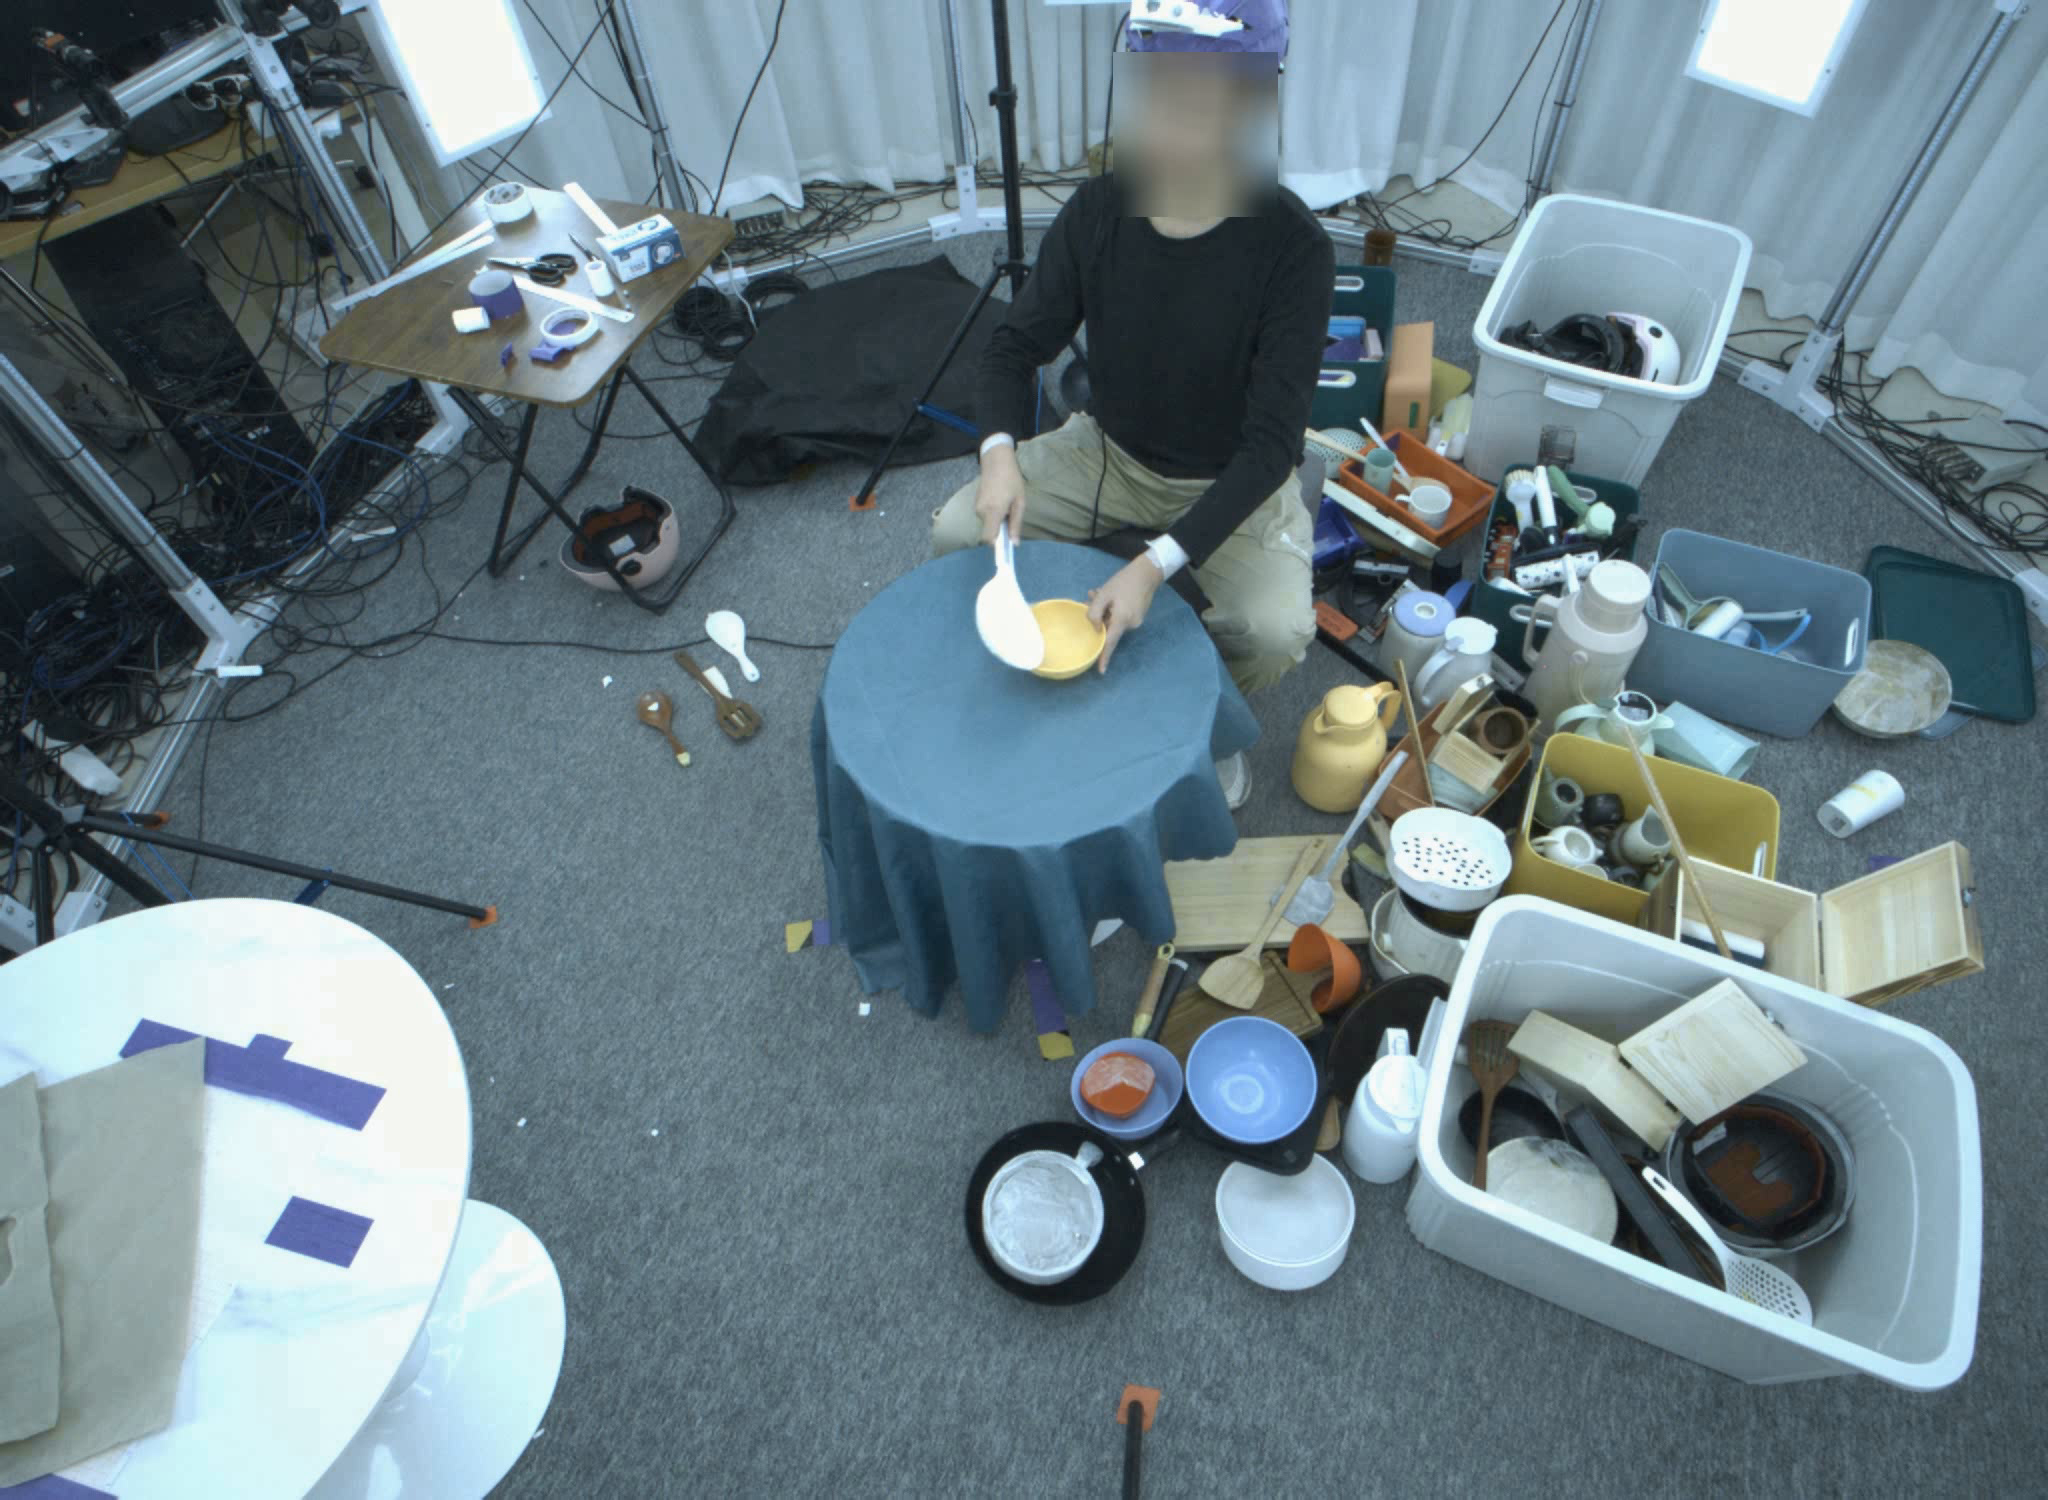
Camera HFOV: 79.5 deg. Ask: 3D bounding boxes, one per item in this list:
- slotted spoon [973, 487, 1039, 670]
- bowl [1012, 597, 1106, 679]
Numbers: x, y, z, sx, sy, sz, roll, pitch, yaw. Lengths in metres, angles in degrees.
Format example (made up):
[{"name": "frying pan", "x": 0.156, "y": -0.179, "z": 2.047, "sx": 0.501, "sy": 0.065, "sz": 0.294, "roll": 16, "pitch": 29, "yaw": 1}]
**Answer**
[{"name": "slotted spoon", "x": -0.033, "y": -0.265, "z": 1.838, "sx": 0.045, "sy": 0.139, "sz": 0.346, "roll": -22, "pitch": 53, "yaw": 35}, {"name": "bowl", "x": 0.052, "y": -0.158, "z": 1.863, "sx": 0.145, "sy": 0.061, "sz": 0.144, "roll": 0, "pitch": 57, "yaw": 2}]
